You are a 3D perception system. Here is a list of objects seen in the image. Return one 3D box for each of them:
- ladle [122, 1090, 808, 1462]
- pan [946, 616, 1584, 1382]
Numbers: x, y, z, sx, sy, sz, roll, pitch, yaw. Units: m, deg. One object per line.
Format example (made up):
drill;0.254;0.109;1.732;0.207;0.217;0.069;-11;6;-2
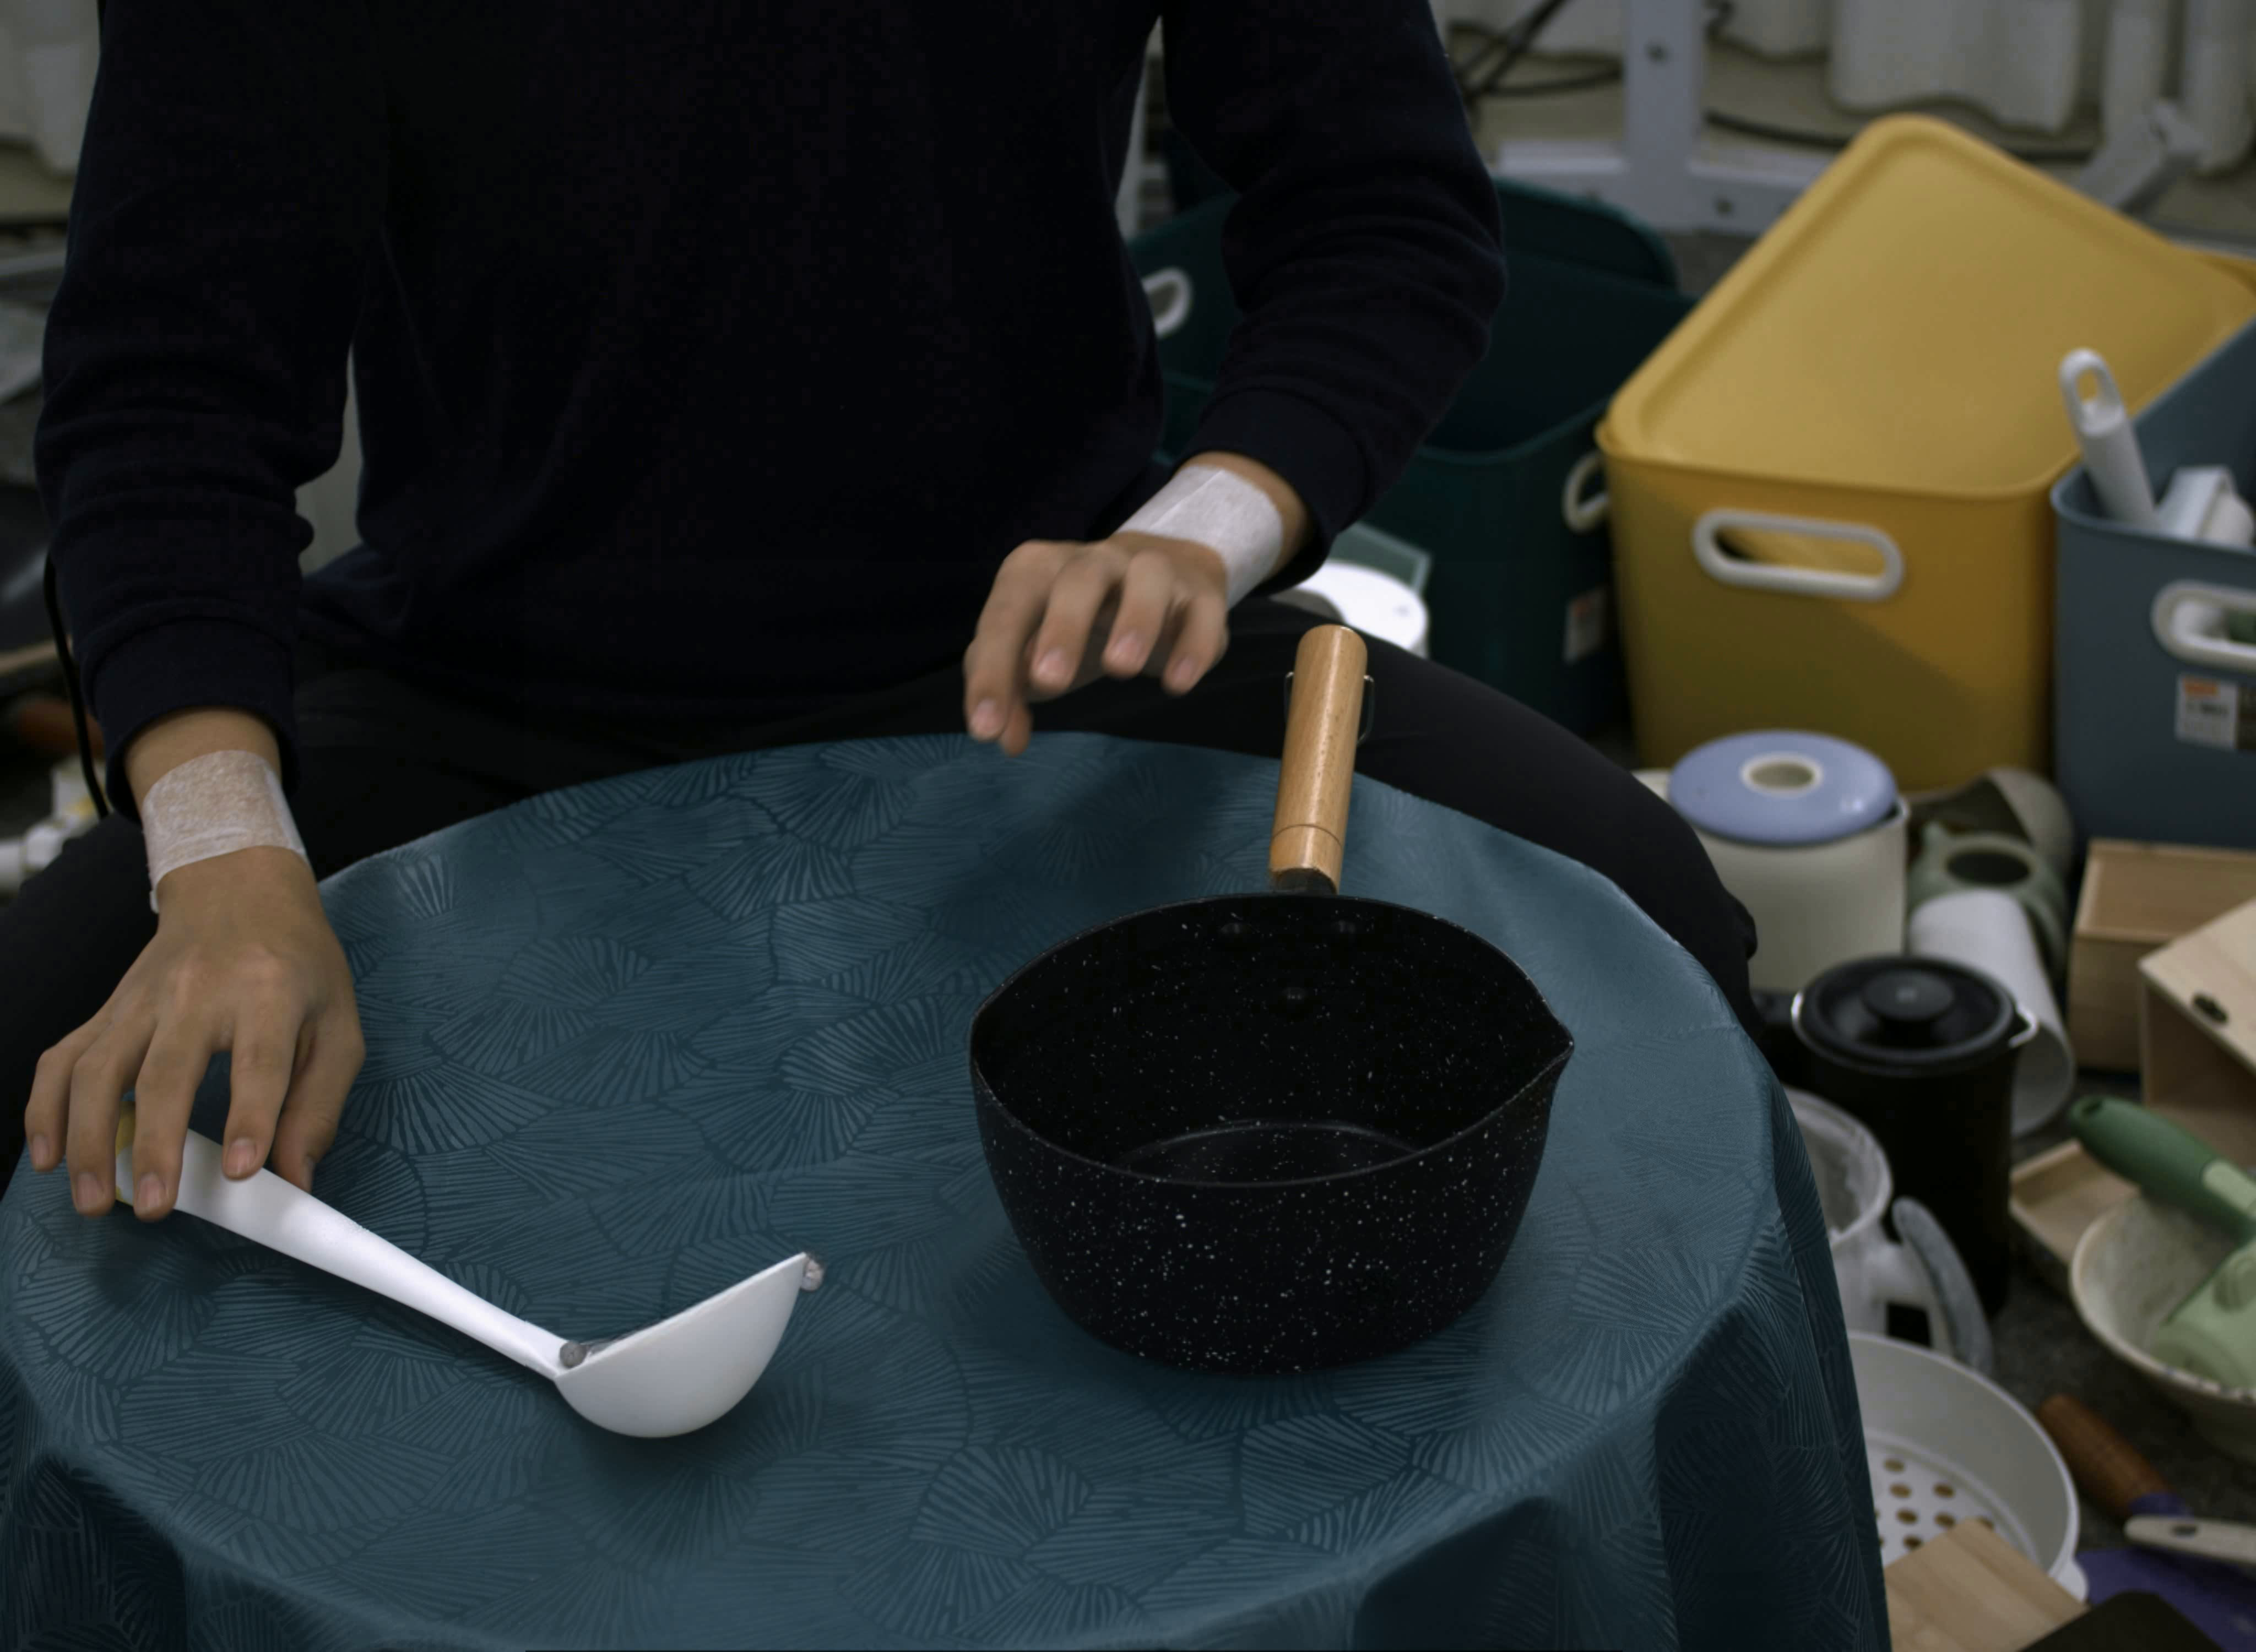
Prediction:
ladle;-0.221;0.132;1.799;0.292;0.069;0.091;23;34;38
pan;0.052;0.054;1.871;0.206;0.107;0.348;-1;29;7
